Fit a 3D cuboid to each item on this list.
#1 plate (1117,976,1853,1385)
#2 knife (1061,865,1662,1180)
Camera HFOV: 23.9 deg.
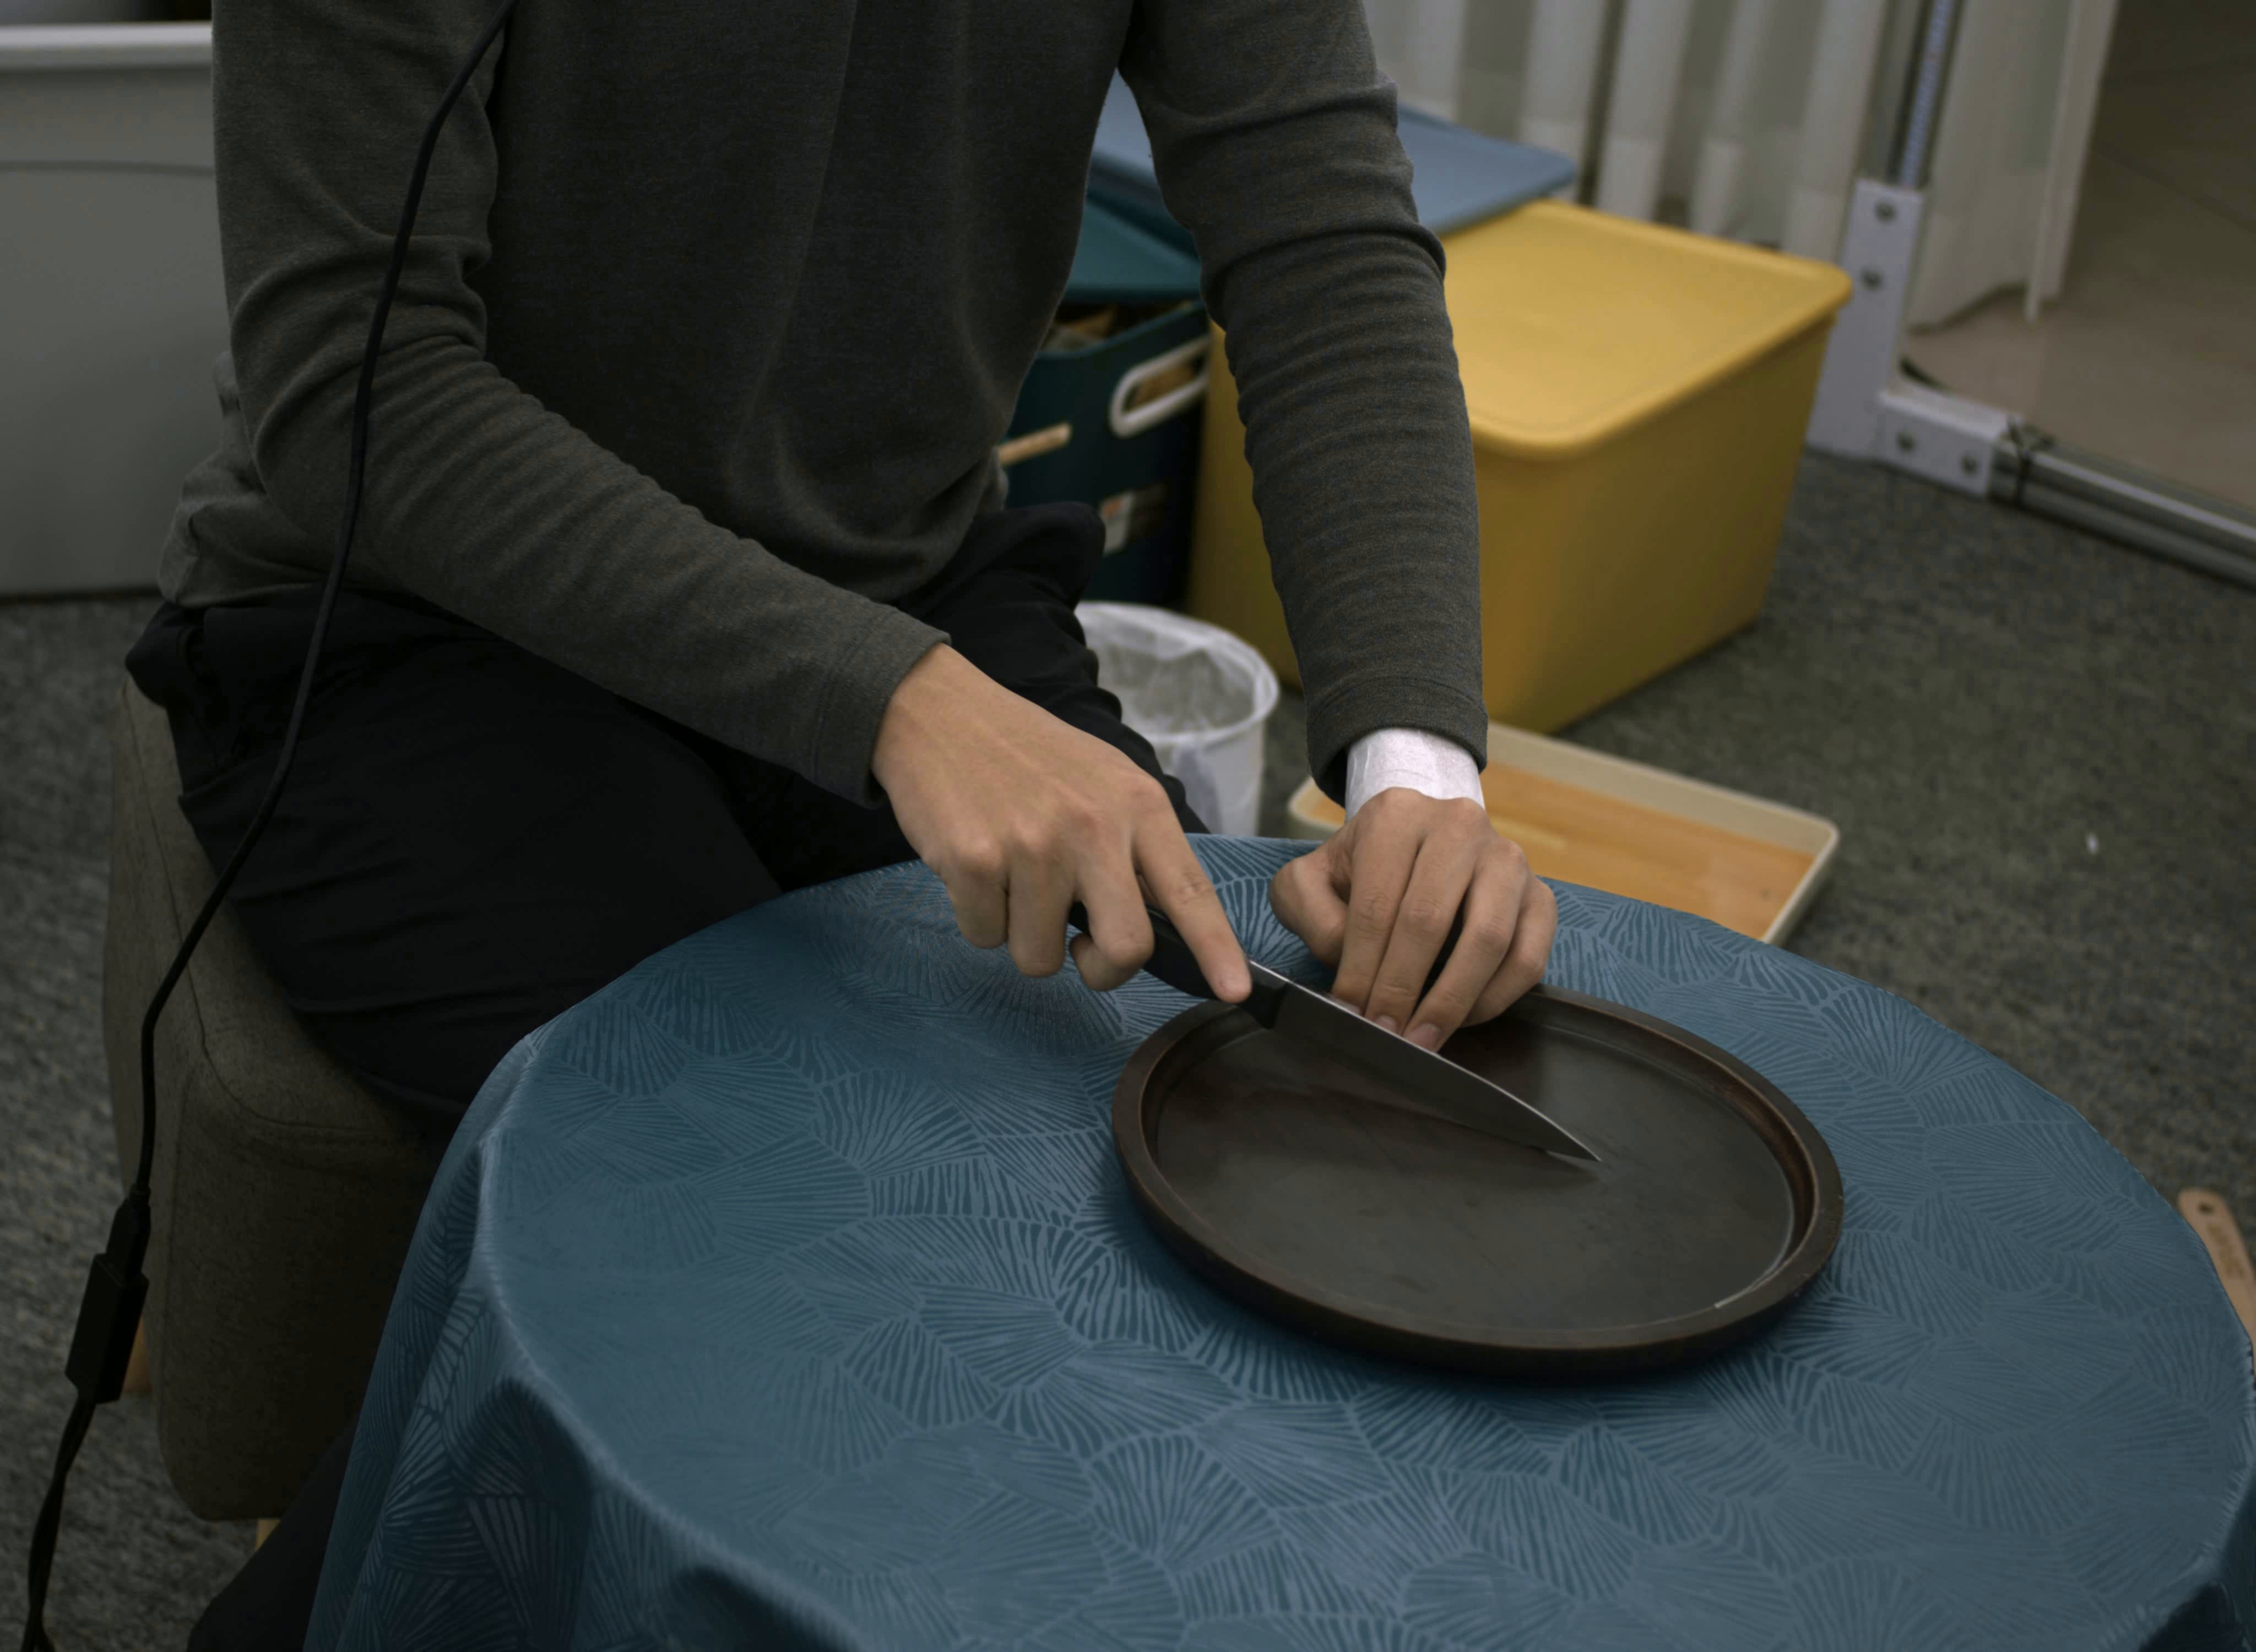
[{"bbox_3d":[0.120,0.119,1.818,0.254,0.029,0.256,6,27,-3],"label":"plate"},{"bbox_3d":[0.081,0.068,1.854,0.239,0.024,0.016,26,25,18],"label":"knife"}]
